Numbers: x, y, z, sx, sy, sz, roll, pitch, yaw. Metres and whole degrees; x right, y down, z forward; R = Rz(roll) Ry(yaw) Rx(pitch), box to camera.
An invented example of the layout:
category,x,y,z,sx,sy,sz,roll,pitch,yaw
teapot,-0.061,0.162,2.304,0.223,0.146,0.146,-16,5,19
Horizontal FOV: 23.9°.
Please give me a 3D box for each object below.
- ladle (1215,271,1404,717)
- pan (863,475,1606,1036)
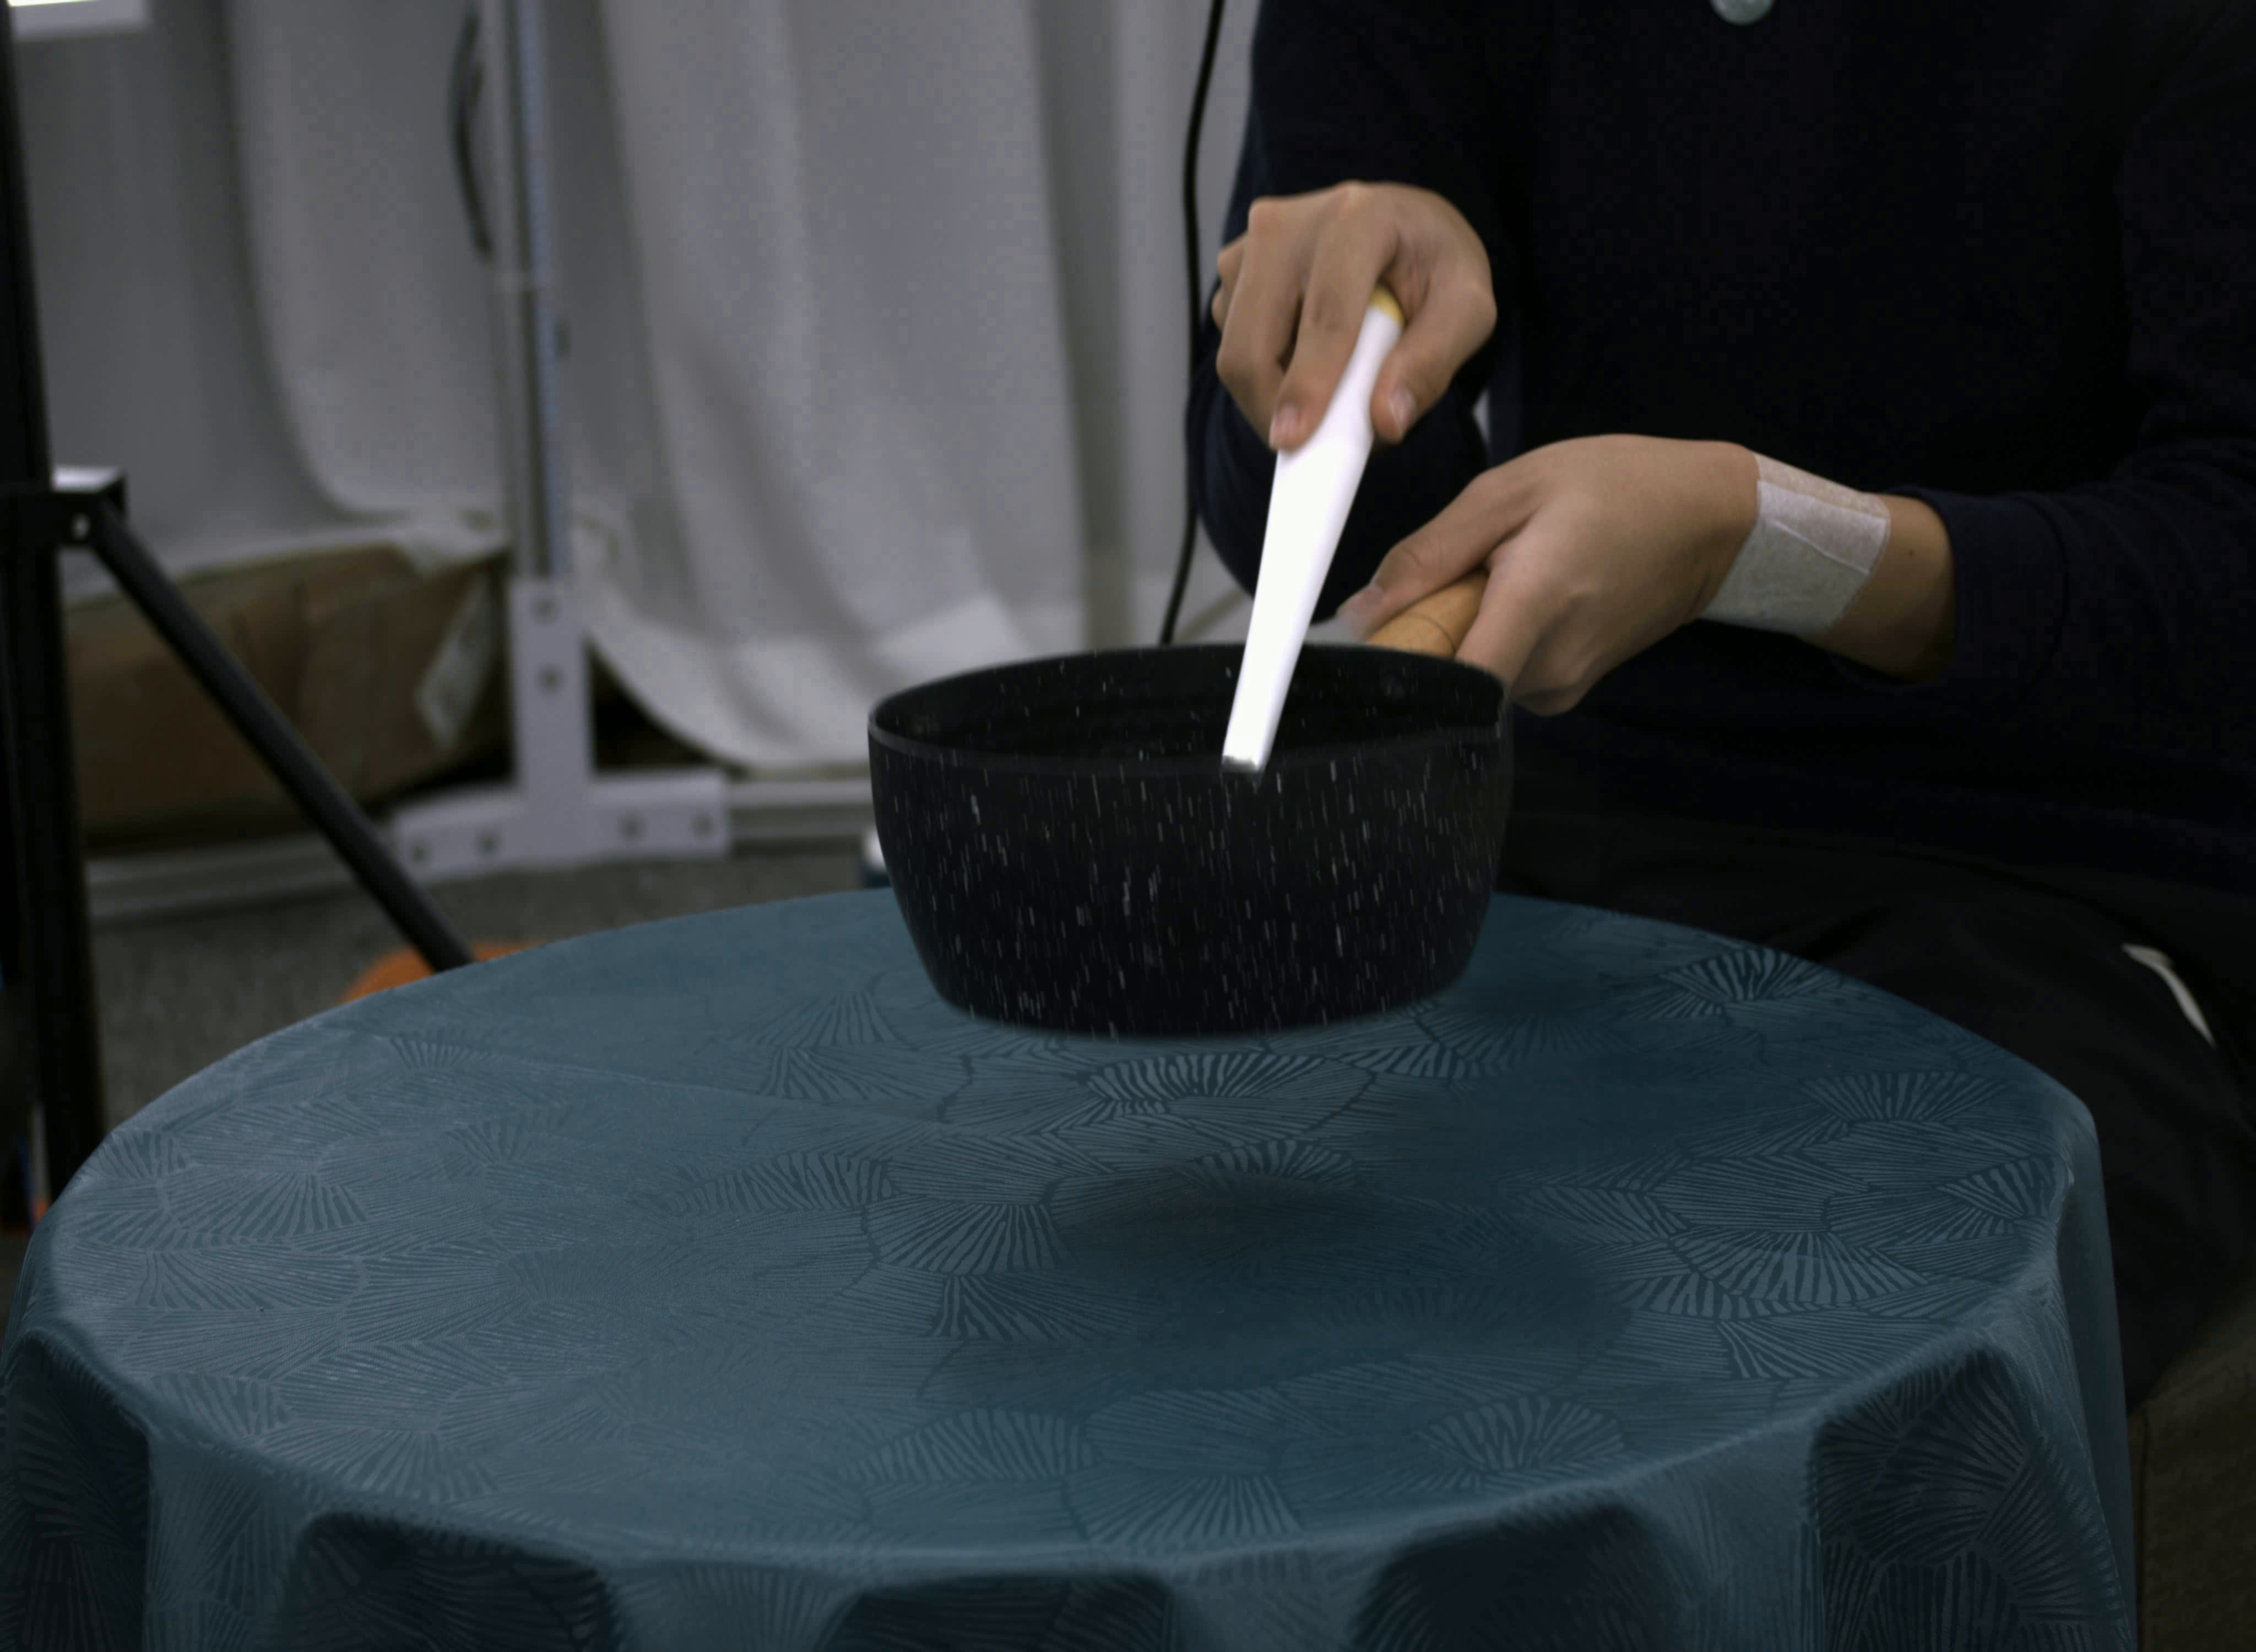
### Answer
category,x,y,z,sx,sy,sz,roll,pitch,yaw
ladle,0.032,-0.077,1.584,0.091,0.069,0.293,-9,40,26
pan,0.057,-0.025,1.579,0.211,0.108,0.336,3,14,31
